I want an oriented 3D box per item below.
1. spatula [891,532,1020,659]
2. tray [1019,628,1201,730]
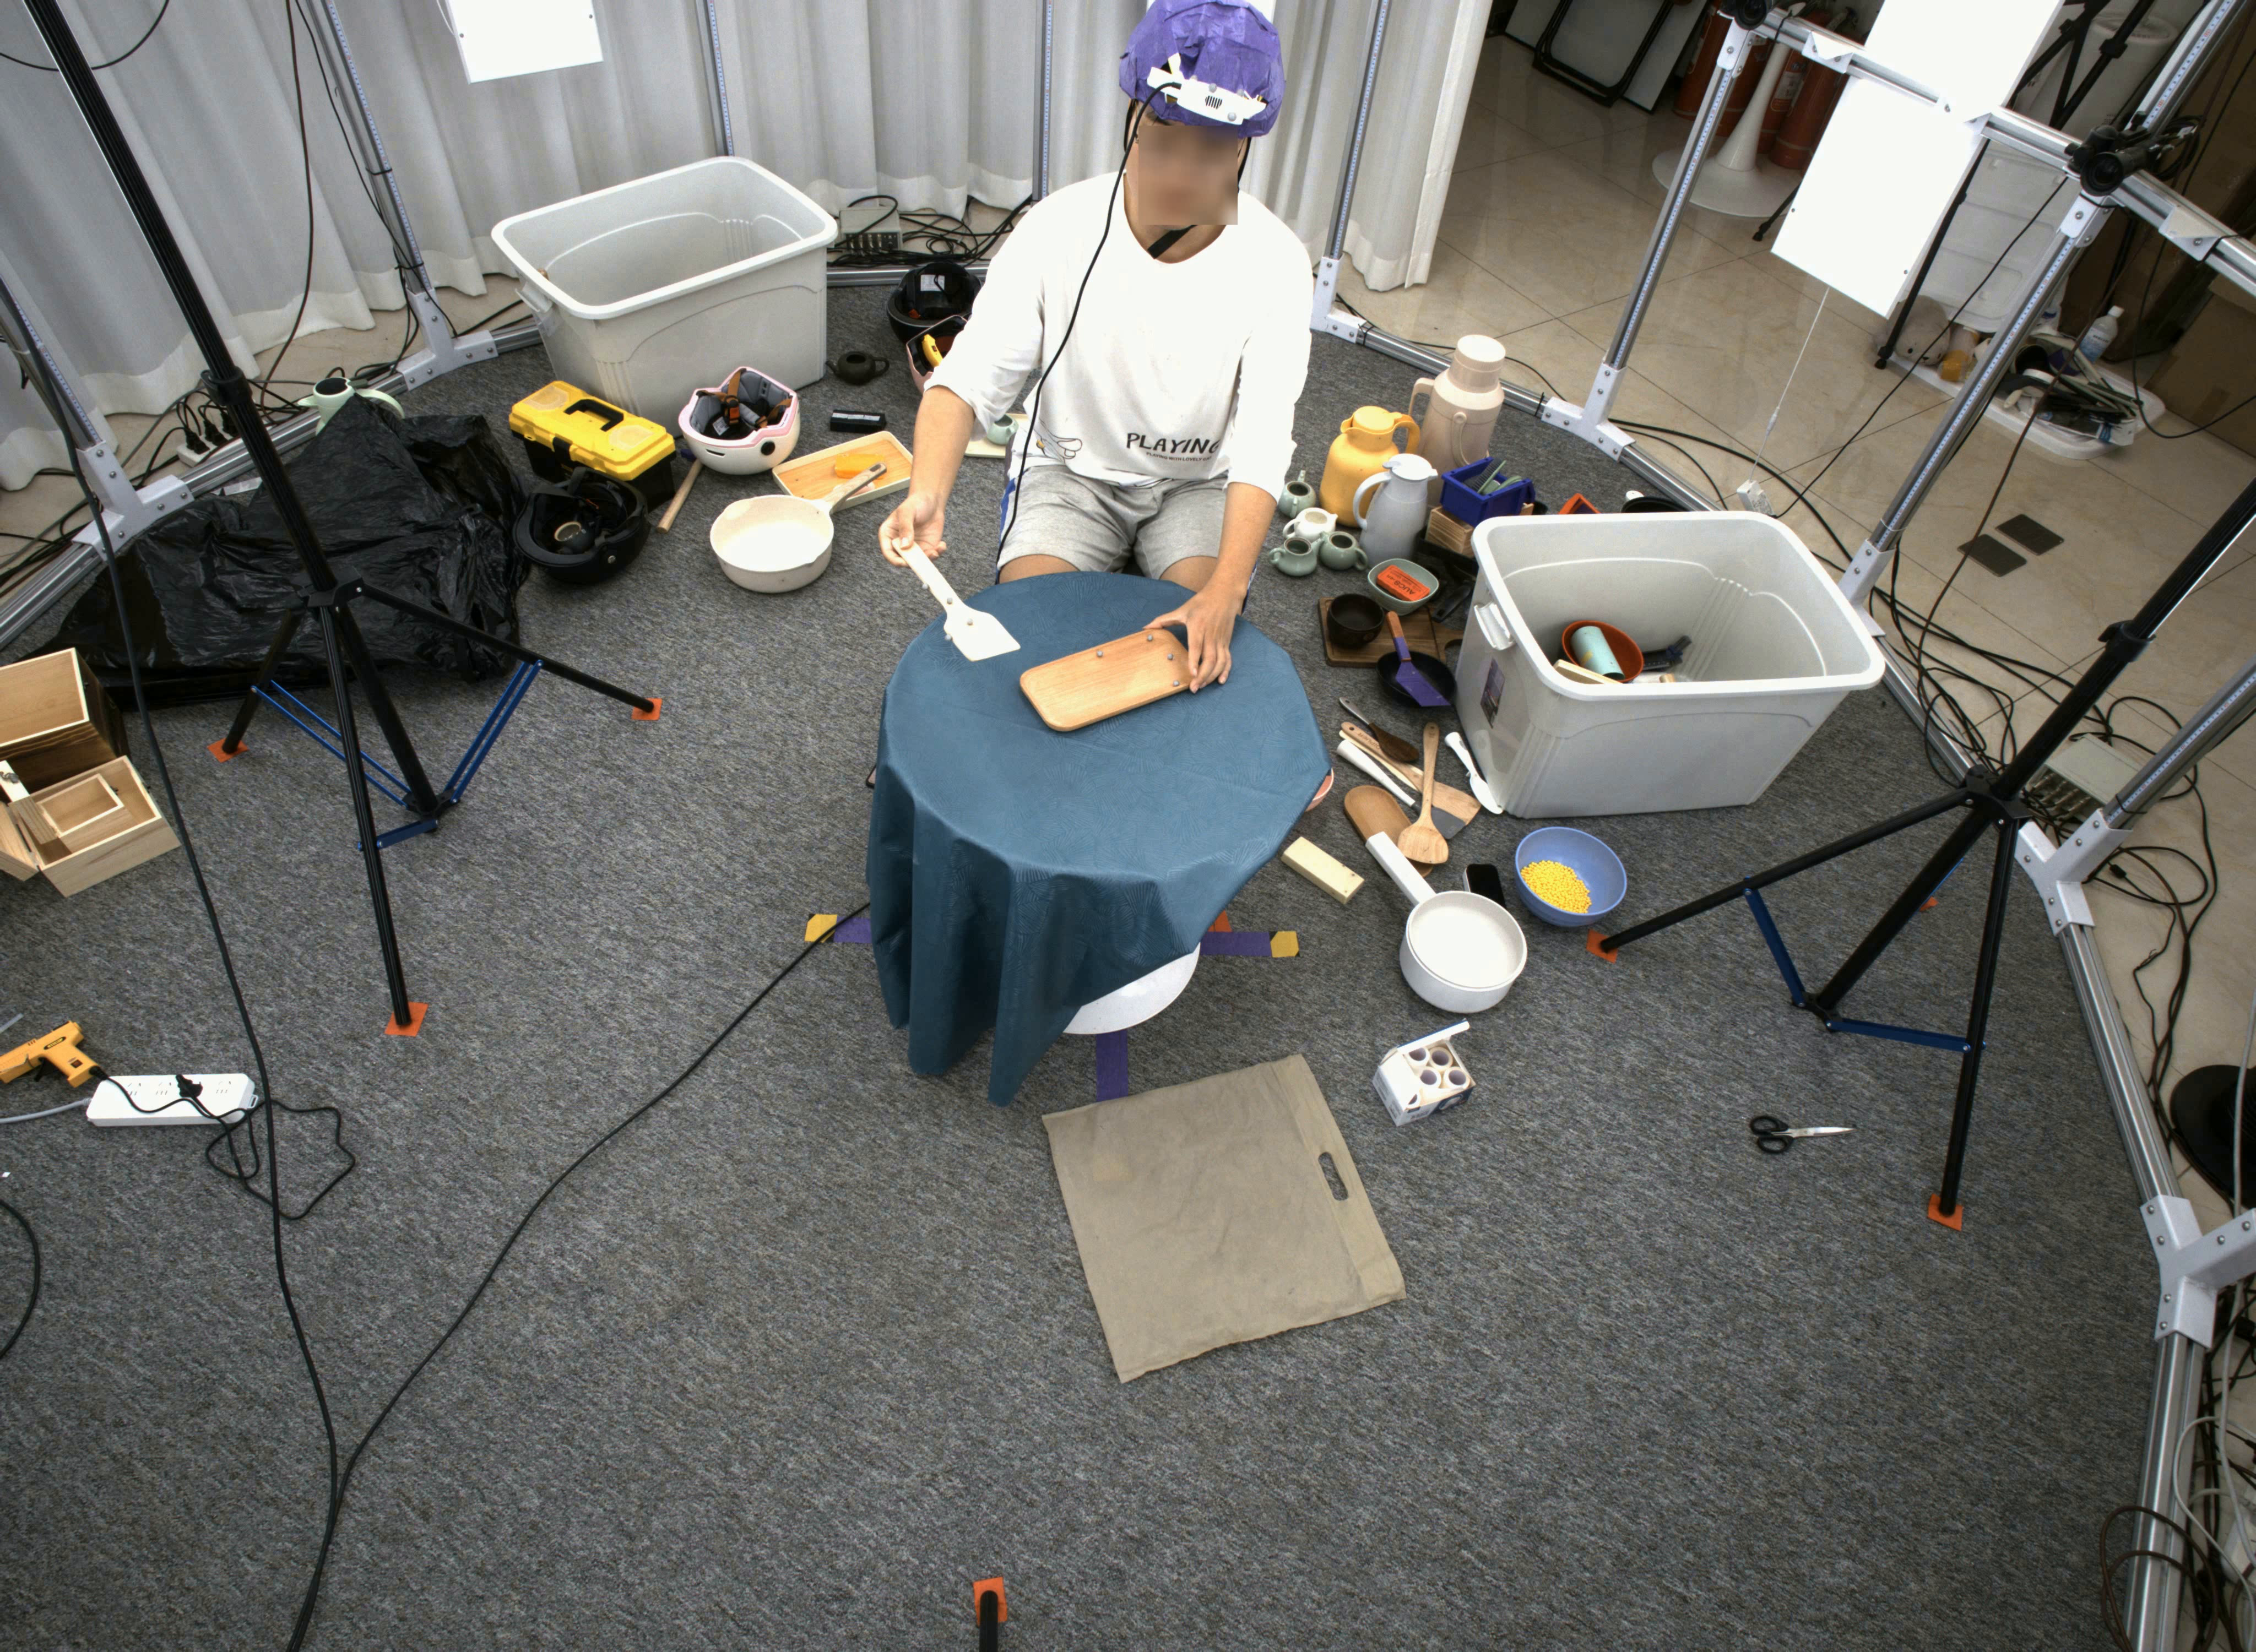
[{"bbox_3d":[-0.240,-0.307,1.691,0.072,0.010,0.299,-19,50,-25],"label":"spatula"},{"bbox_3d":[-0.025,-0.211,1.836,0.251,0.022,0.133,-21,51,-20],"label":"tray"}]
